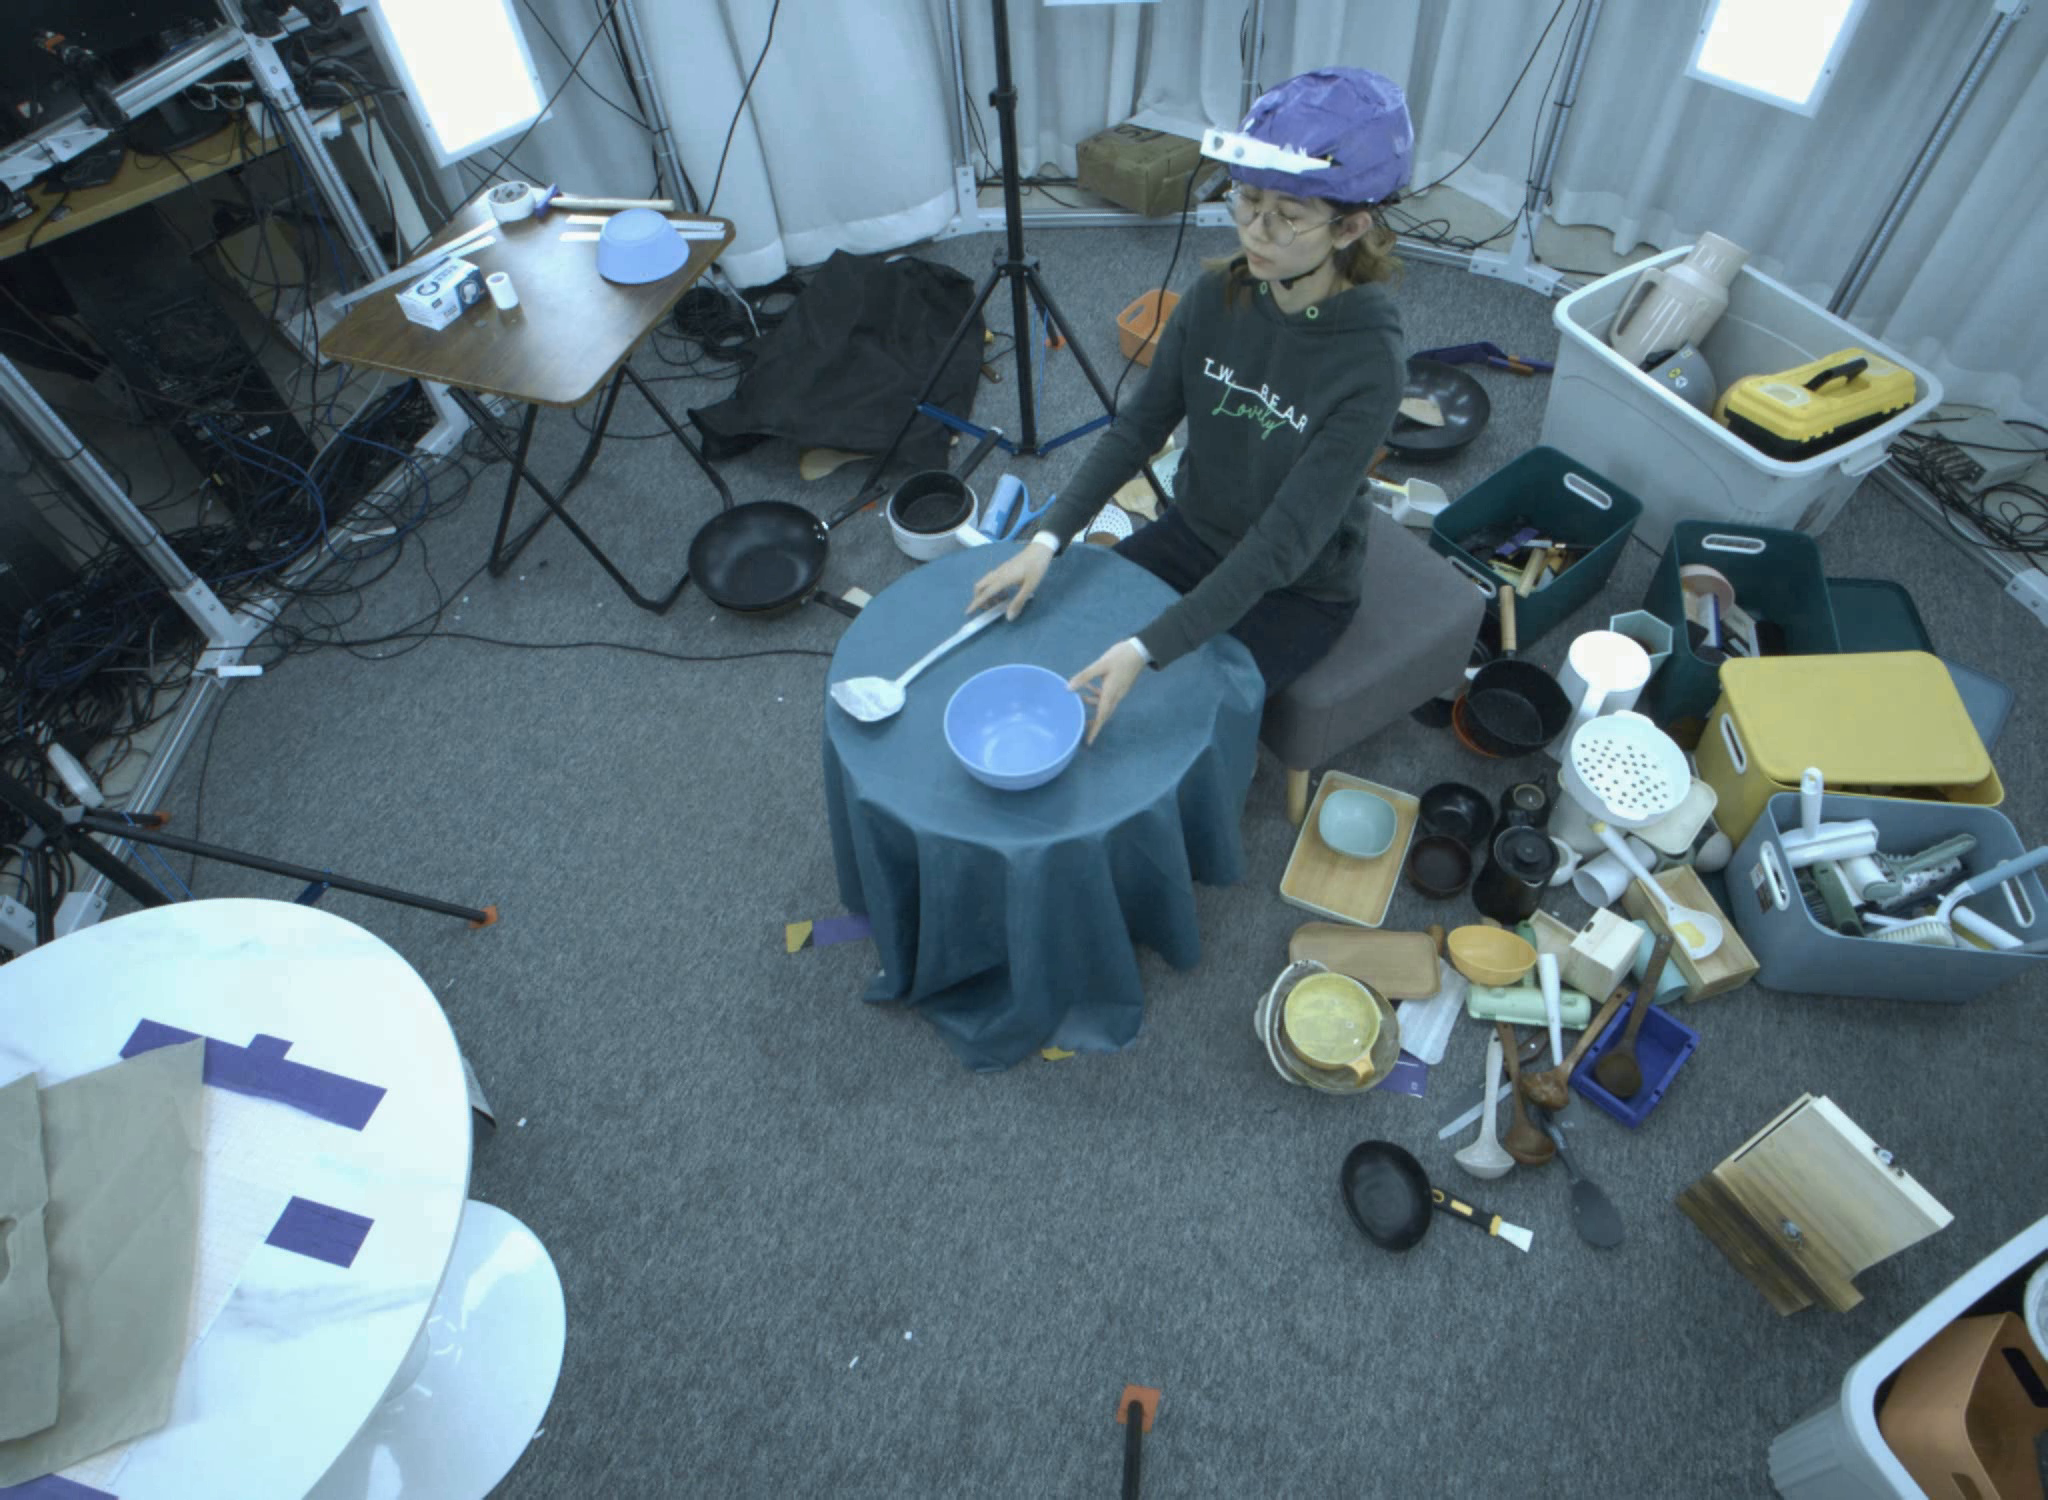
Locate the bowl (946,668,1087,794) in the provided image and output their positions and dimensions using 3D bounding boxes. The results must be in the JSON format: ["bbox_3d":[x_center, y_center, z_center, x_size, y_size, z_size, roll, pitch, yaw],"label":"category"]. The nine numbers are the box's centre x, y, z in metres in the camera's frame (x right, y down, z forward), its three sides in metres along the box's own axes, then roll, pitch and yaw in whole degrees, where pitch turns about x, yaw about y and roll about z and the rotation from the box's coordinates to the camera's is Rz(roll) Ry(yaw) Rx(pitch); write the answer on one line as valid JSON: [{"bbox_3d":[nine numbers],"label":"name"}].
[{"bbox_3d":[-0.008,-0.012,1.748,0.196,0.096,0.194,-1,56,3],"label":"bowl"}]

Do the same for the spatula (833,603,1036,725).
[{"bbox_3d":[-0.127,-0.147,1.881,0.367,0.045,0.097,-37,59,-21],"label":"spatula"}]
